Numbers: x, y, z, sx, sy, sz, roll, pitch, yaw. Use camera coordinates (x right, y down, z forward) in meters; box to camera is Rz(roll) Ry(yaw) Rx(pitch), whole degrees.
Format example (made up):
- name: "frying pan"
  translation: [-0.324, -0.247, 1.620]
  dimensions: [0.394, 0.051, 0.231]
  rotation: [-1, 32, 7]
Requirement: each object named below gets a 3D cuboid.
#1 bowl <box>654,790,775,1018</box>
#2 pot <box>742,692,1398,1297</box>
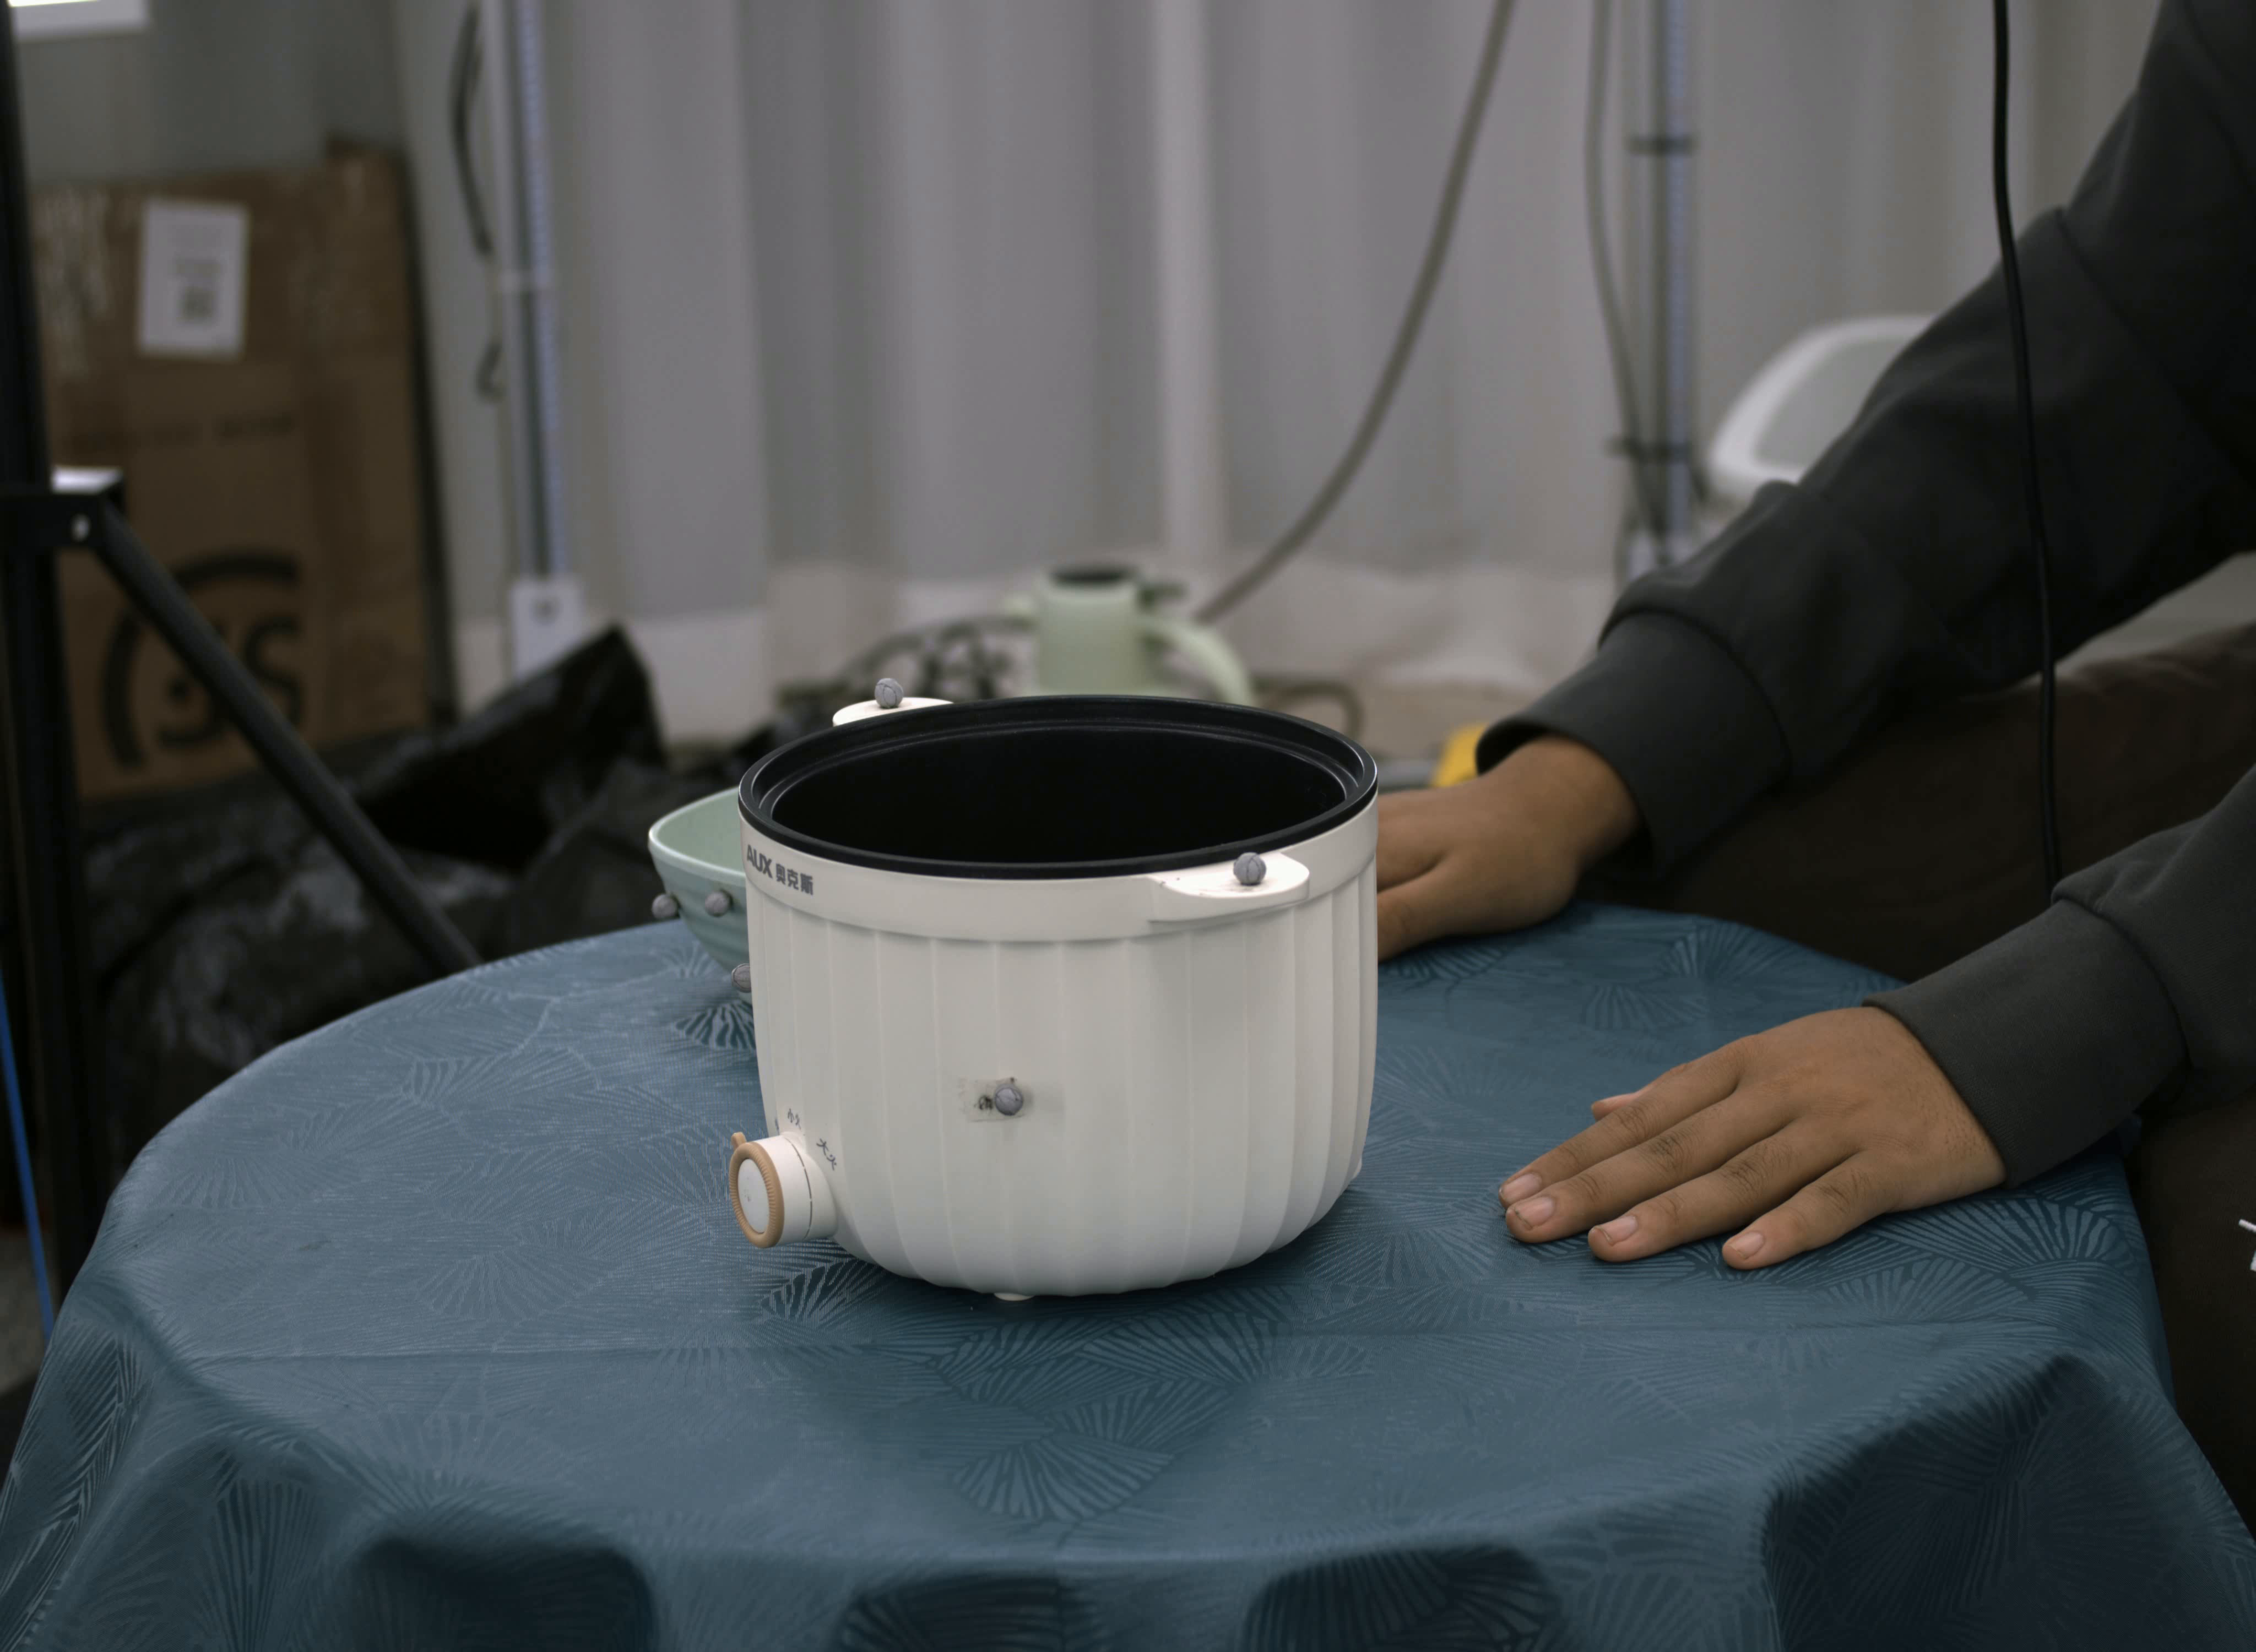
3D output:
- name: "bowl"
  translation: [-0.078, 0.028, 1.749]
  dimensions: [0.151, 0.058, 0.152]
  rotation: [-4, 17, 0]
- name: "pot"
  translation: [-0.019, 0.049, 1.509]
  dimensions: [0.186, 0.143, 0.245]
  rotation: [-7, 14, -29]
